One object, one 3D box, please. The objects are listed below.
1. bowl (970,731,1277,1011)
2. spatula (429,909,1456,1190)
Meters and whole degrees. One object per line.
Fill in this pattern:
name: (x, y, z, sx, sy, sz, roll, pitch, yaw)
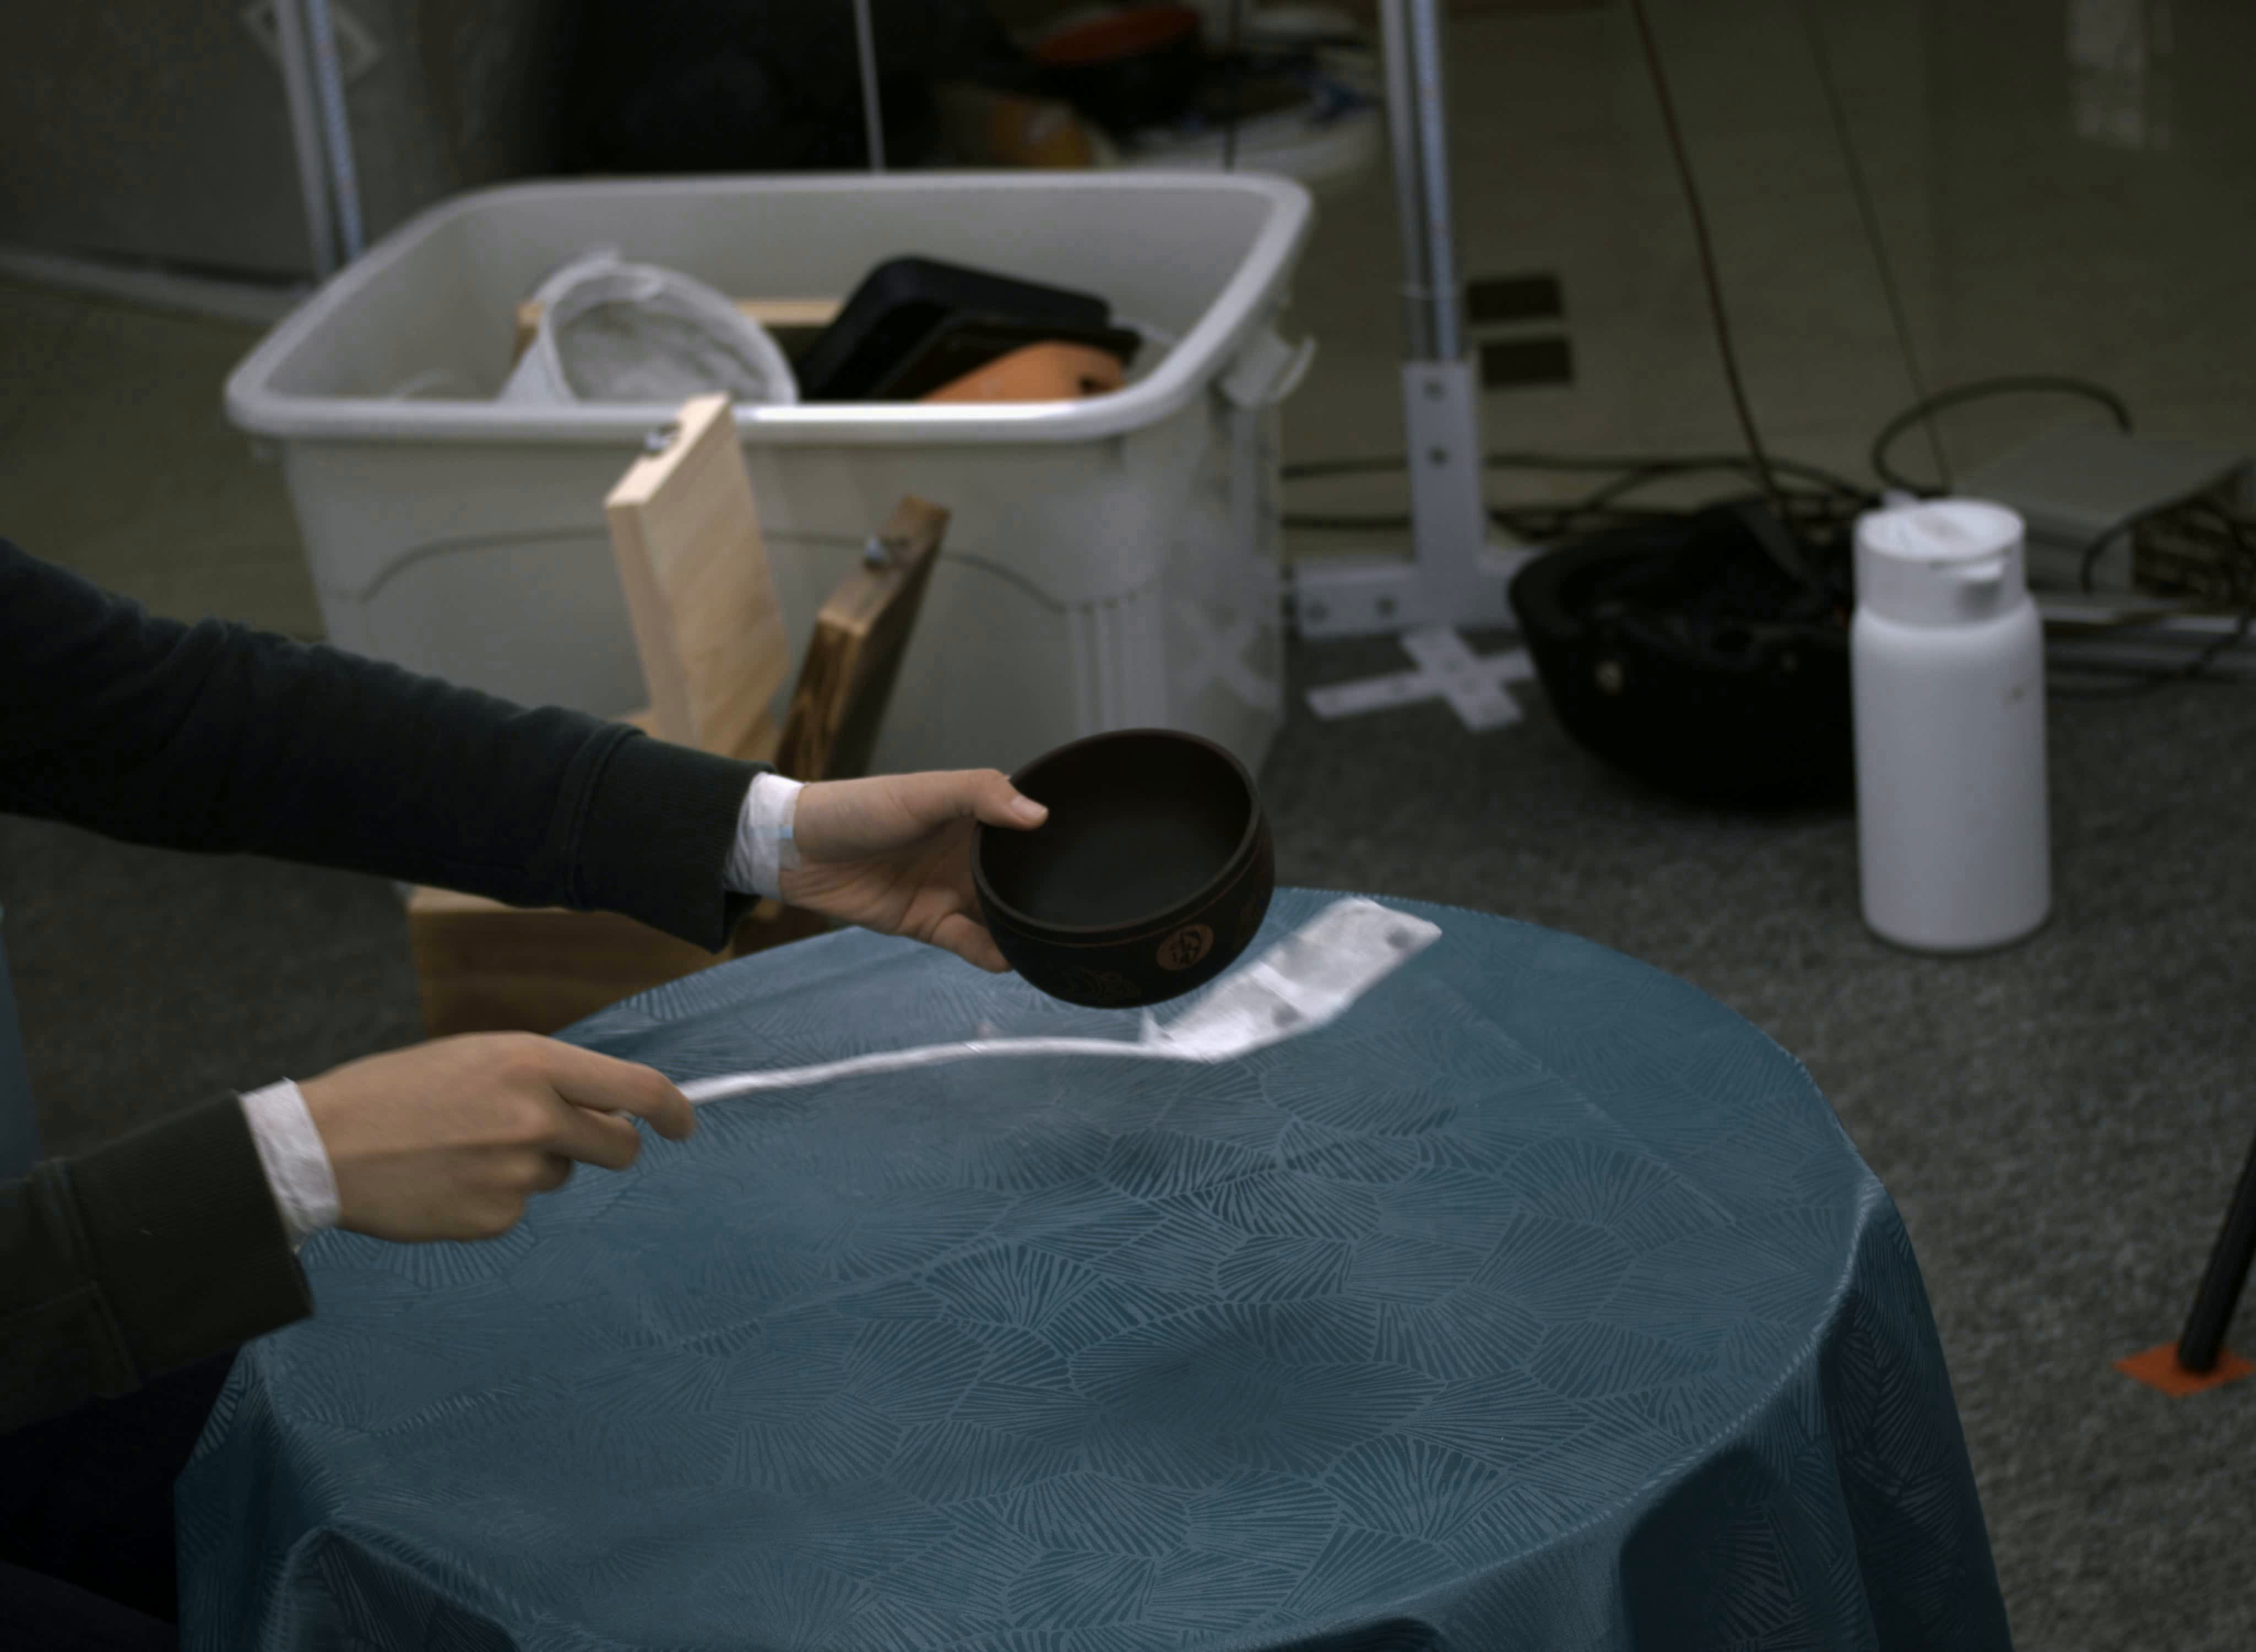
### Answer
bowl: (0.002, 0.026, 2.194, 0.118, 0.071, 0.116, -9, 41, 8)
spatula: (-0.063, 0.080, 1.959, 0.364, 0.045, 0.098, -8, 12, -13)
